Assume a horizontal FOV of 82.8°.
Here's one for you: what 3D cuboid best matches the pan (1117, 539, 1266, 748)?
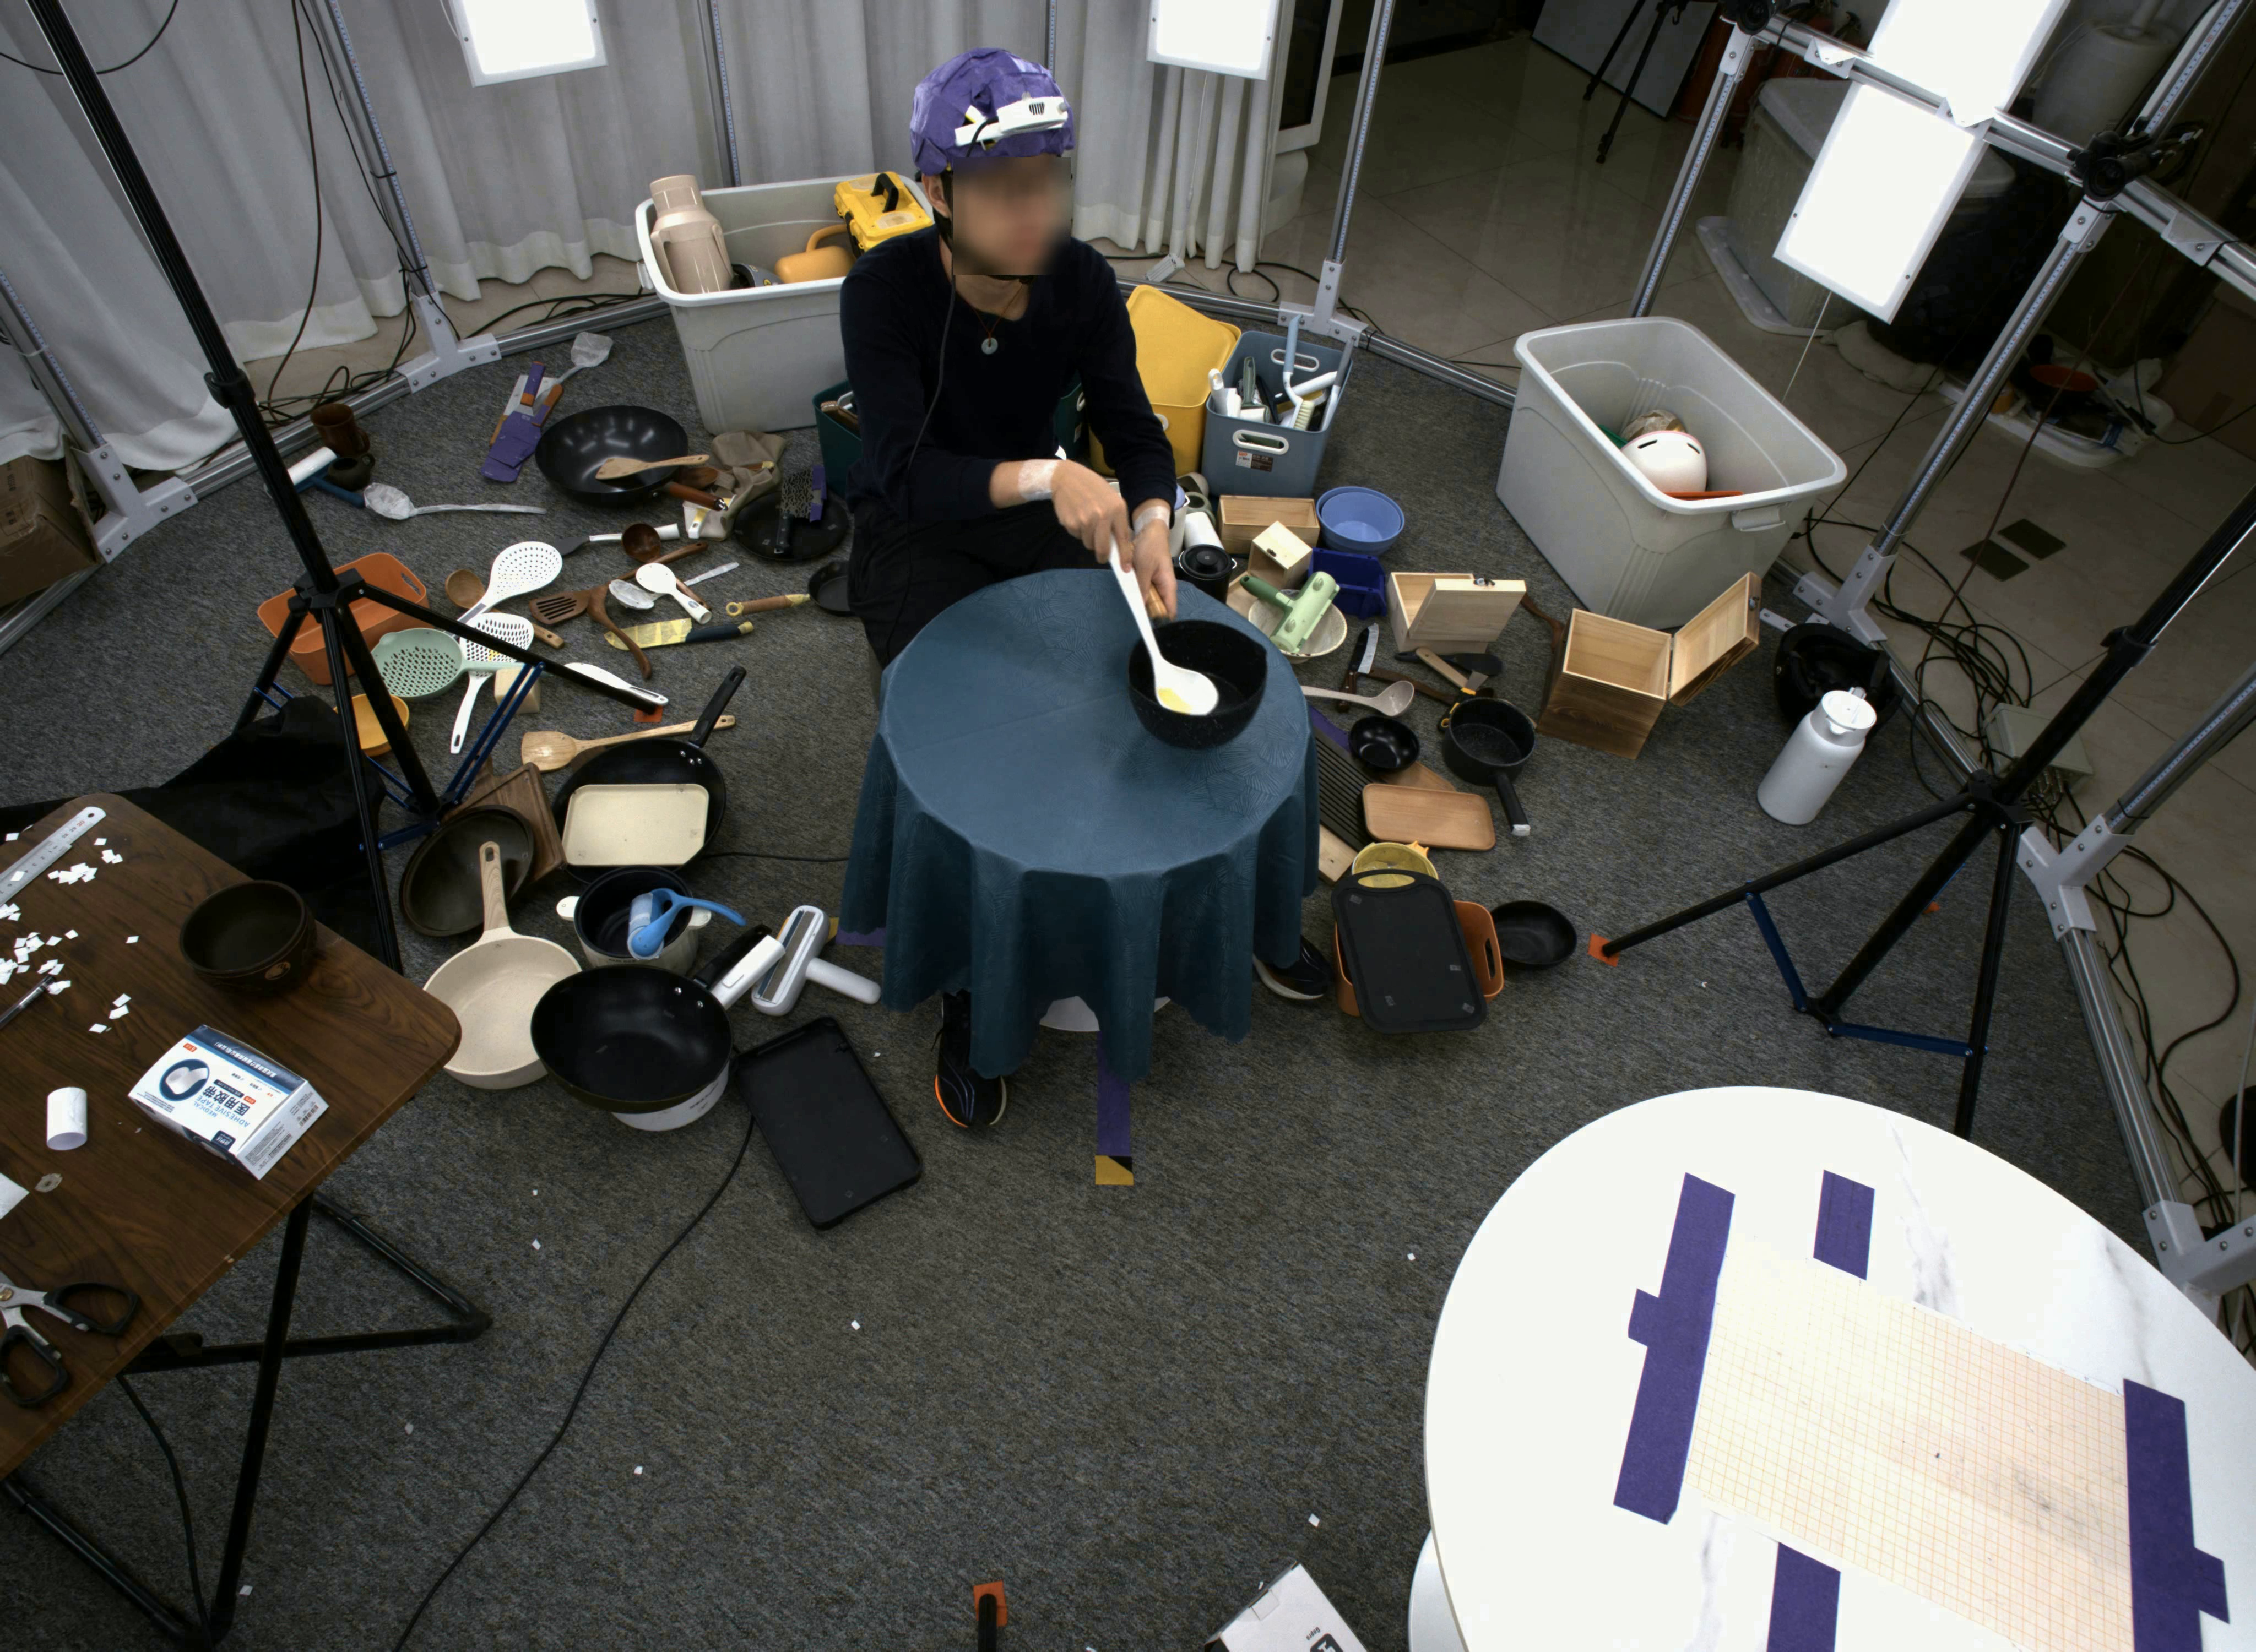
[{"bbox_3d":[0.055,-0.250,1.751,0.208,0.105,0.351,-18,52,-15],"label":"pan"}]

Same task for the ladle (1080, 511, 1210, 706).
[{"bbox_3d":[0.018,-0.276,1.692,0.090,0.290,0.070,-29,13,-24],"label":"ladle"}]
